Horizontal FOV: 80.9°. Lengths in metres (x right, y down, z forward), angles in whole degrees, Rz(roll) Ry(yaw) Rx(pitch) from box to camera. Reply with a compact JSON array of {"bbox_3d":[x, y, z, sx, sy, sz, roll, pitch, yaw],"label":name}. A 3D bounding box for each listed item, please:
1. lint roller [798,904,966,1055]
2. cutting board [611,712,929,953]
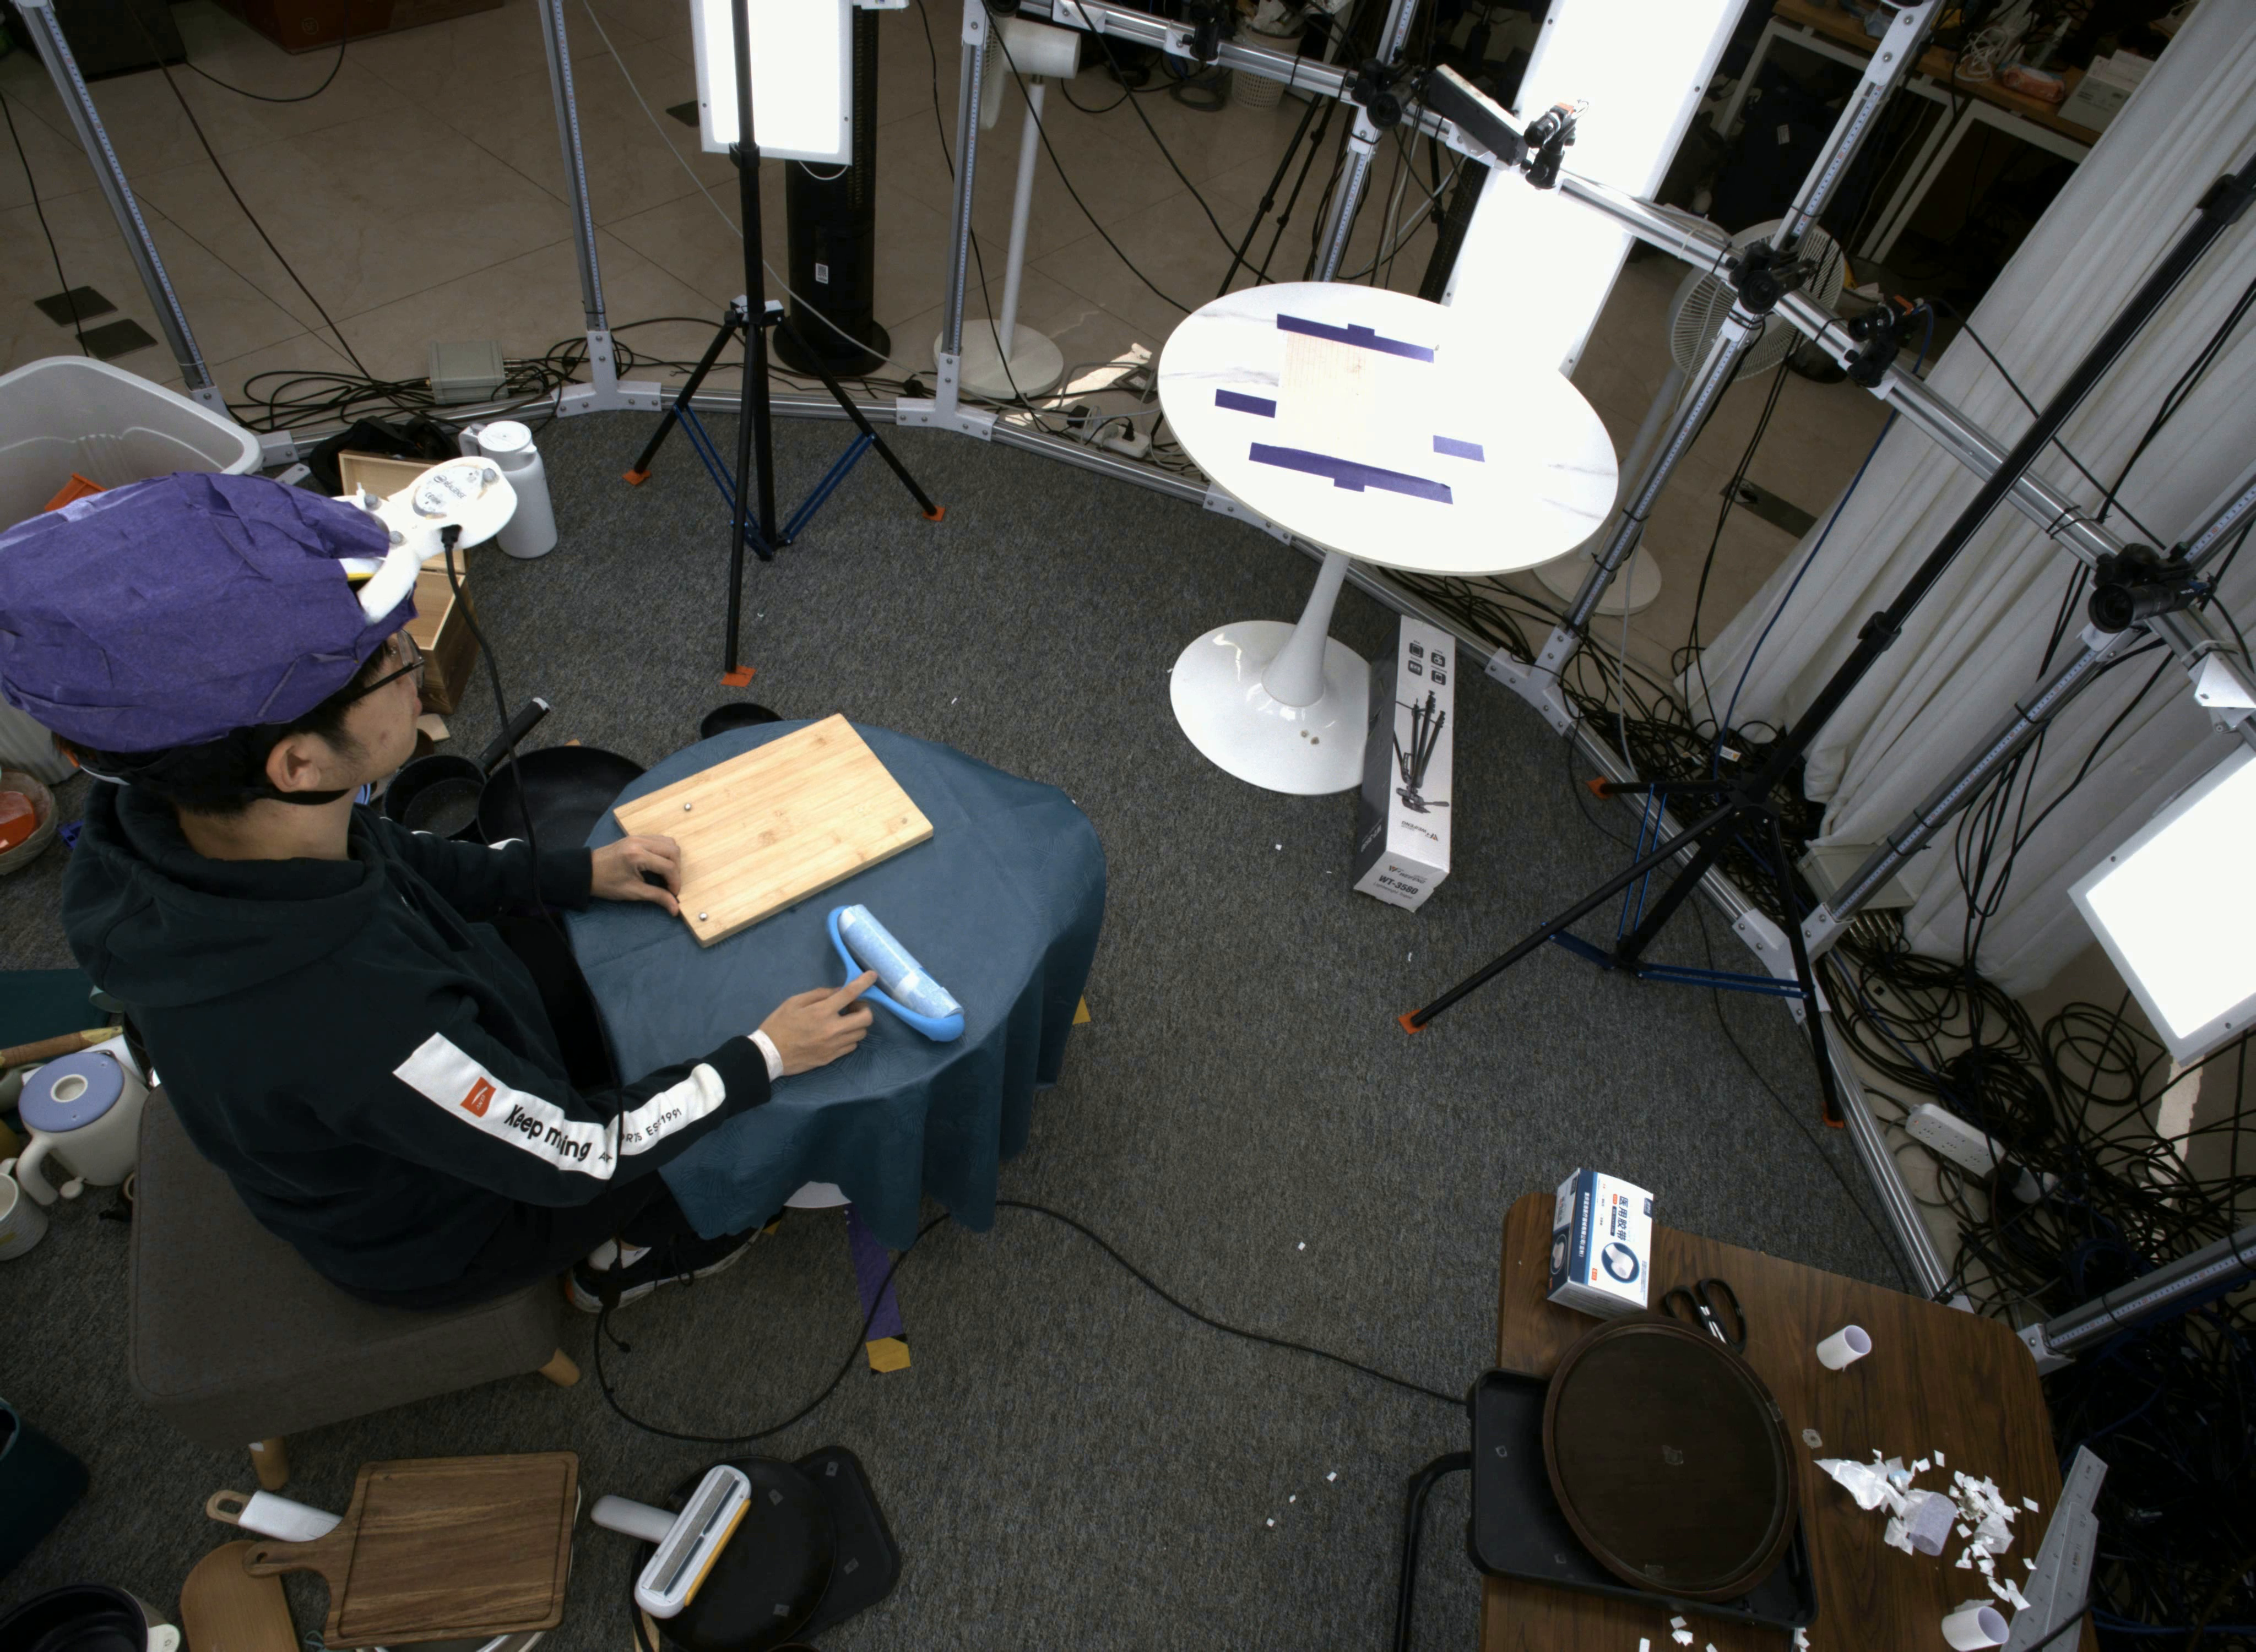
[{"bbox_3d":[-0.322,0.205,1.569,0.224,0.069,0.180,41,54,14],"label":"lint roller"},{"bbox_3d":[-0.469,-0.003,1.710,0.350,0.024,0.245,-30,66,-31],"label":"cutting board"}]
